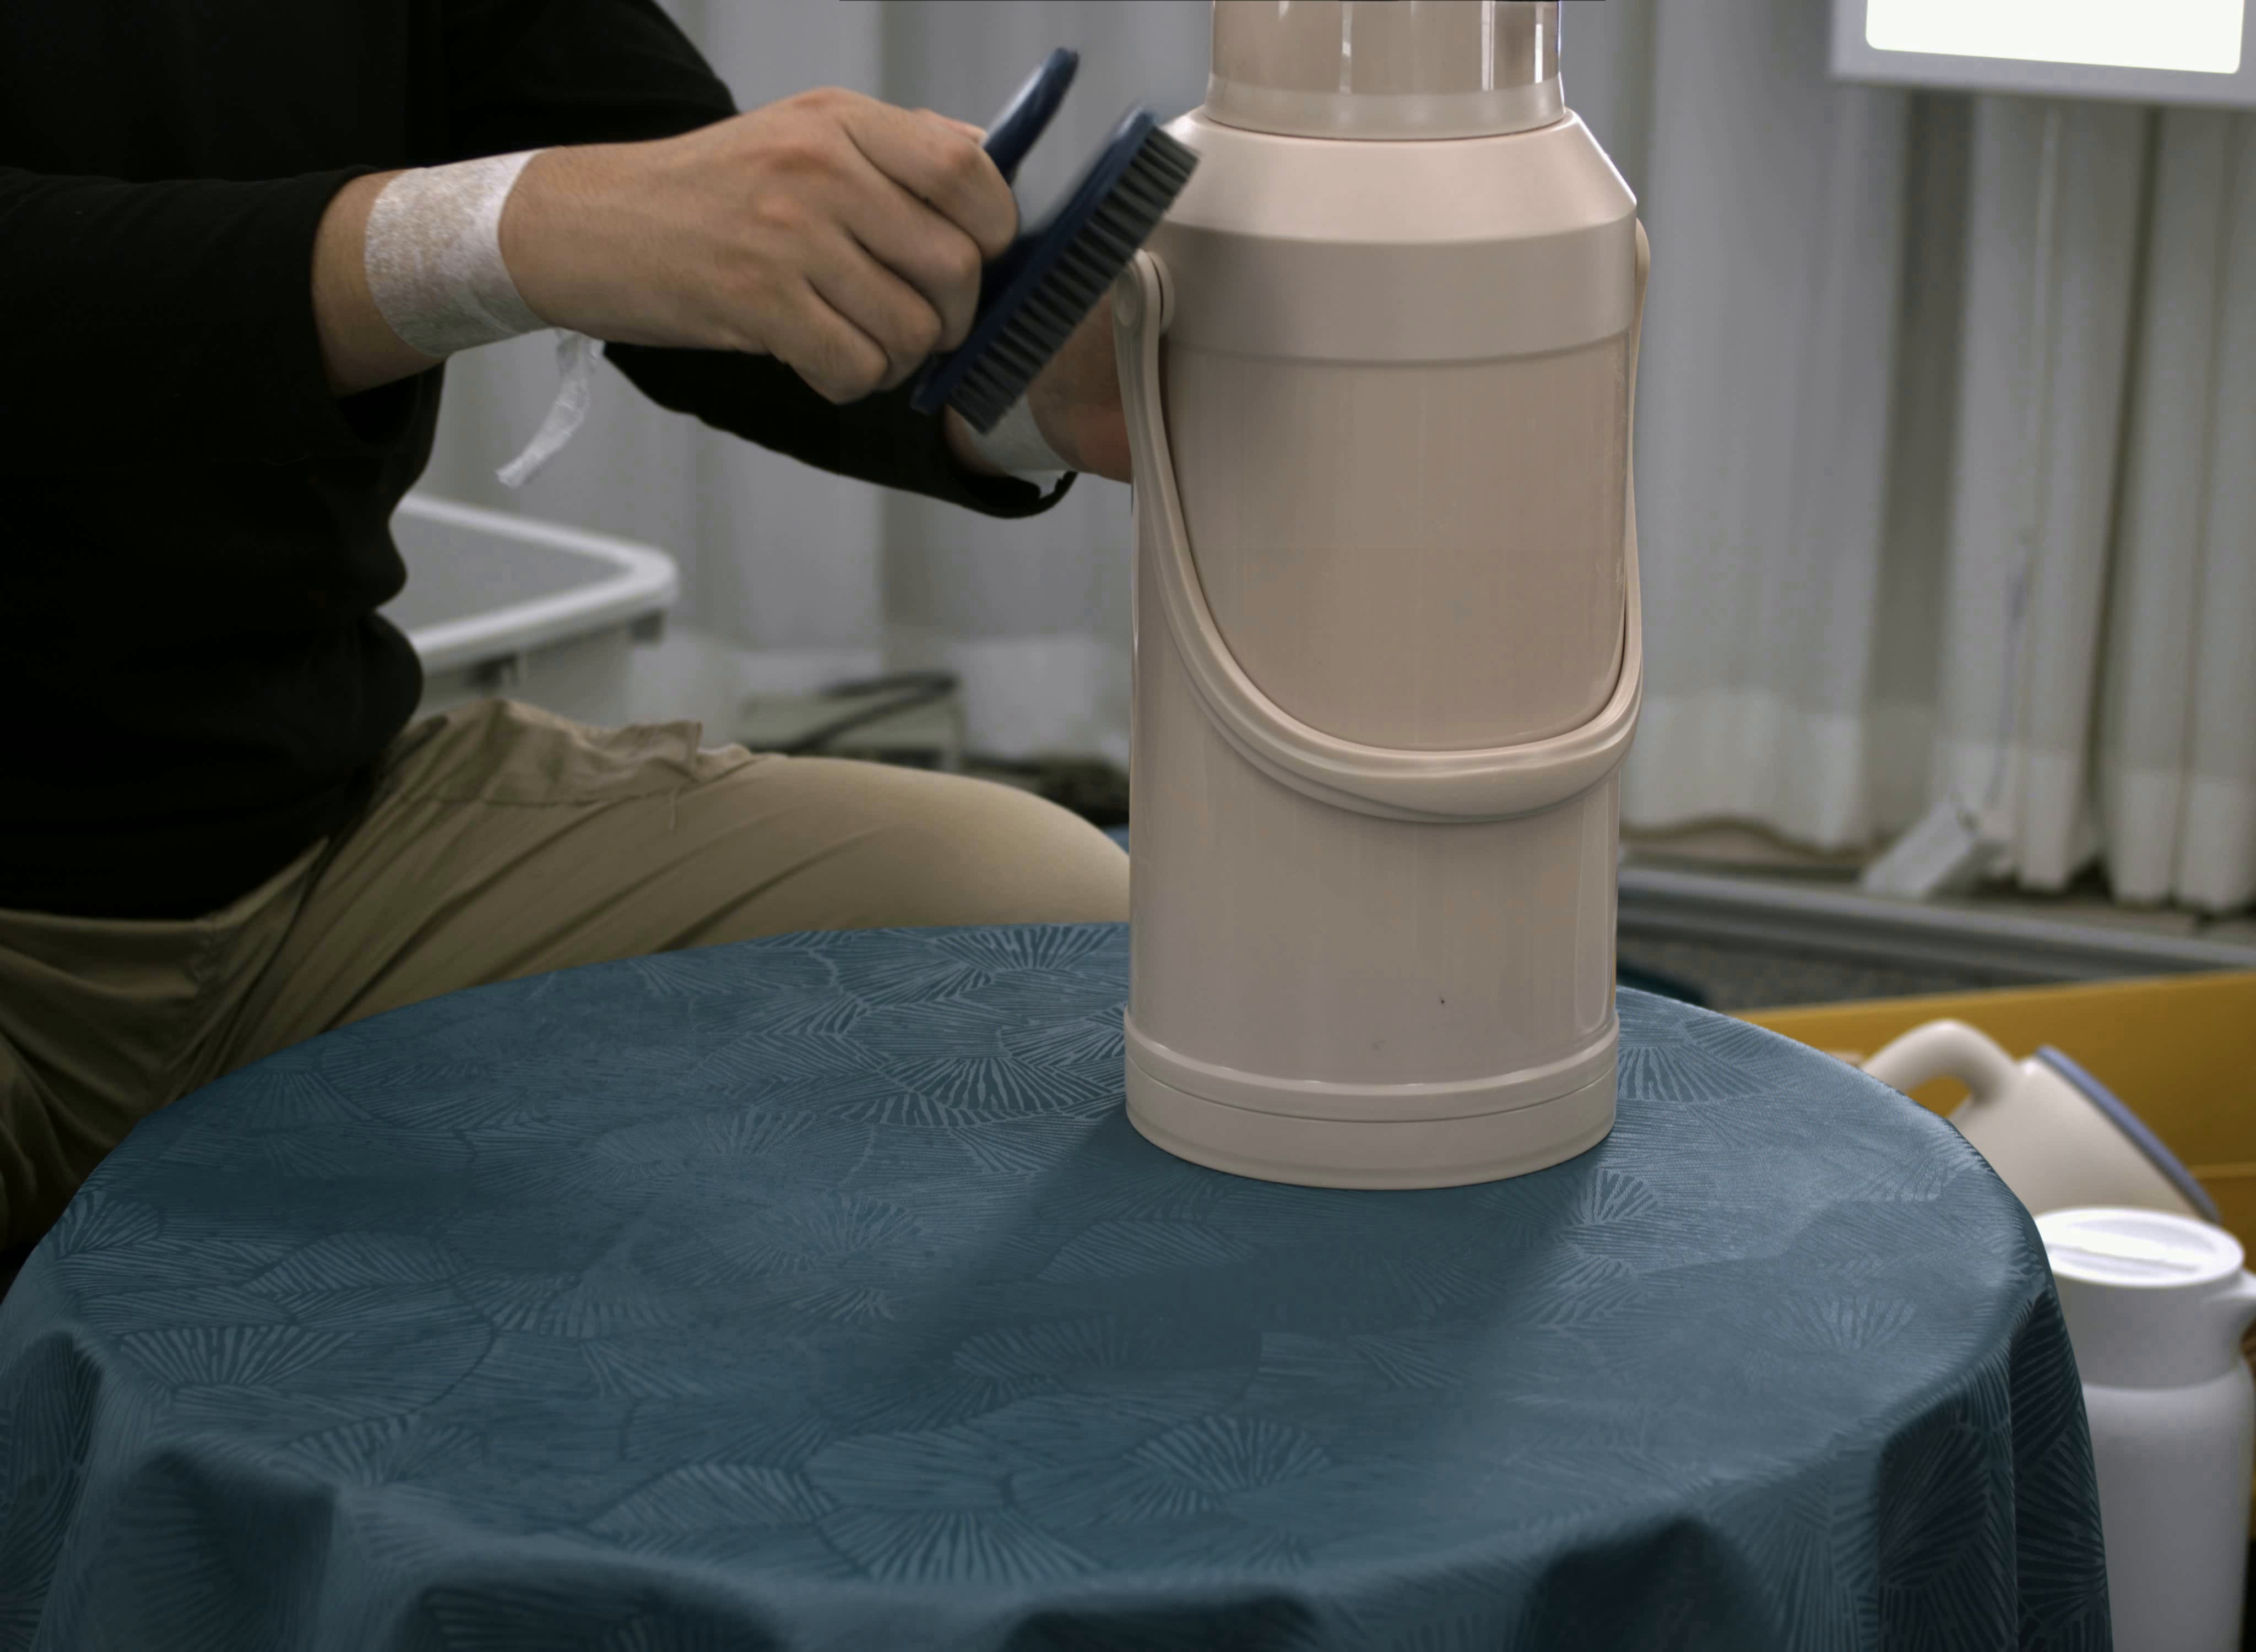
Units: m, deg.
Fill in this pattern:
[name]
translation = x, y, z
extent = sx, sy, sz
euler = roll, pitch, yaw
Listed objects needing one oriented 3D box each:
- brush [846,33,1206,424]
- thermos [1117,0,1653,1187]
[brush]
translation = -0.028, -0.171, 1.532
extent = 0.061, 0.122, 0.067
euler = 37, 32, -7
[thermos]
translation = 0.075, -0.104, 1.657
extent = 0.176, 0.410, 0.204
euler = -9, 19, -24
